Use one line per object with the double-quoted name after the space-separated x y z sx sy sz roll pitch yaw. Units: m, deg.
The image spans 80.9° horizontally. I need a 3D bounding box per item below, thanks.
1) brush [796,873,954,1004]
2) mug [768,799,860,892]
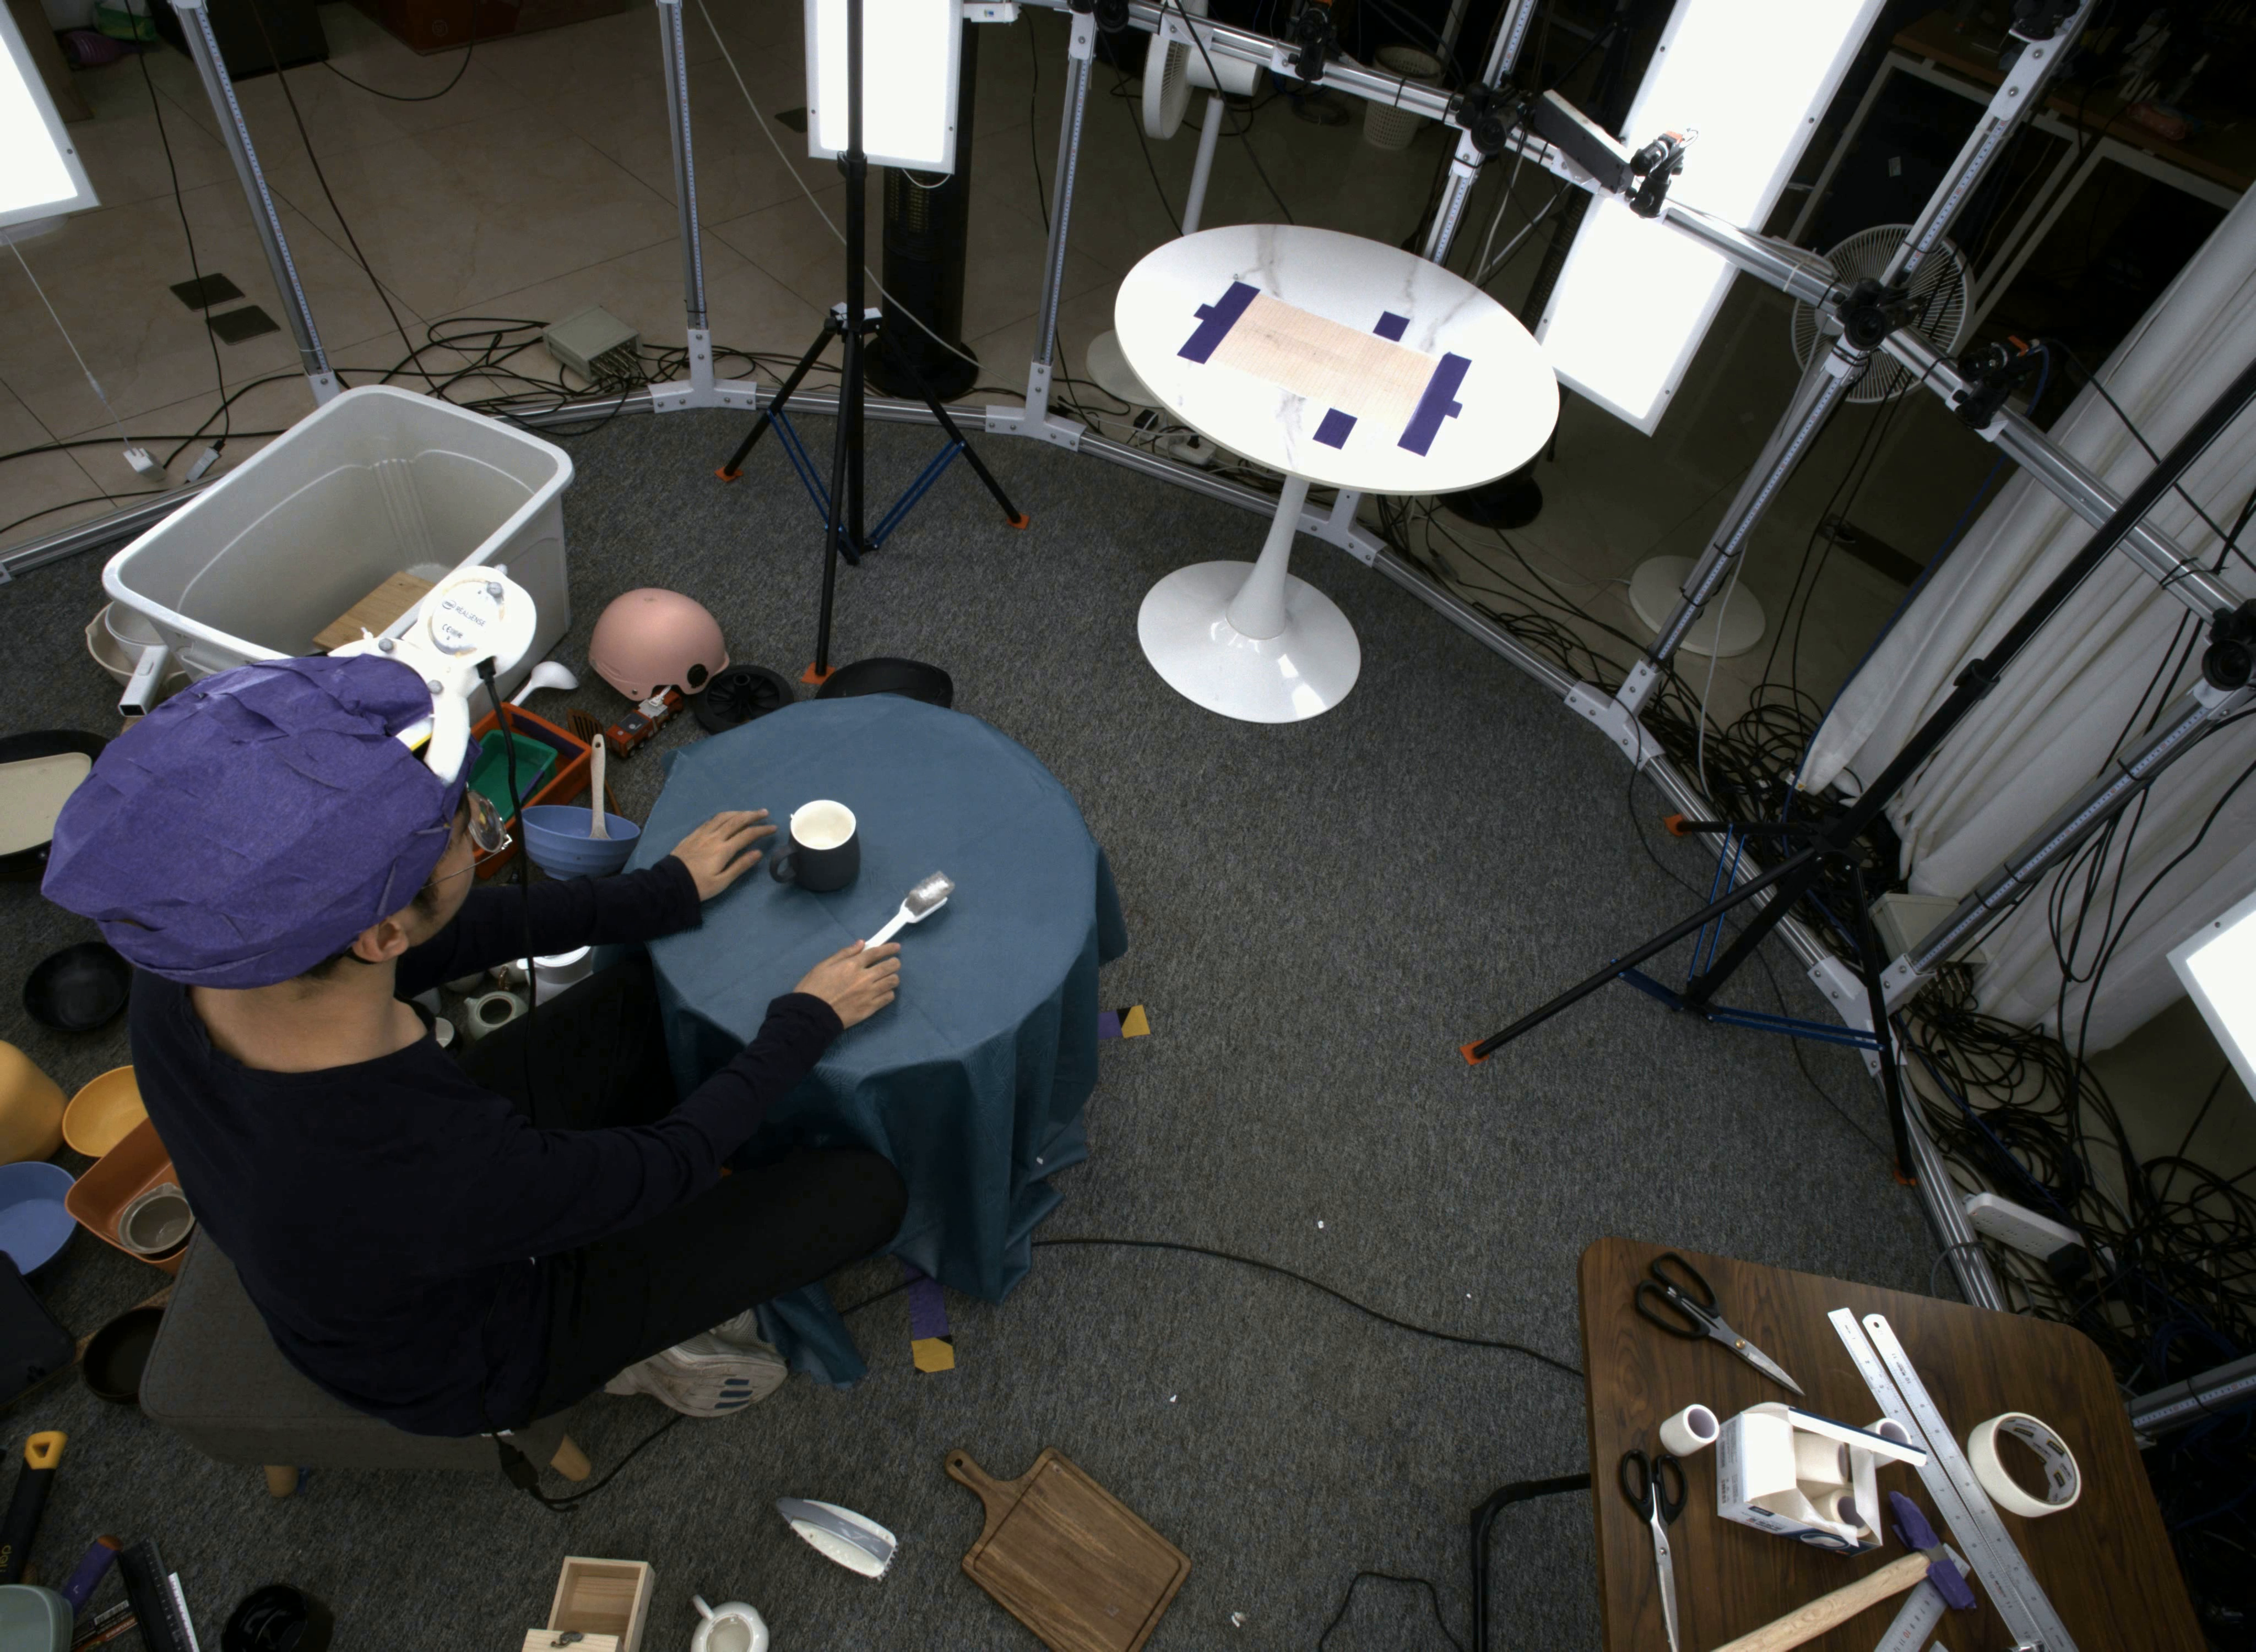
-0.314 0.135 1.621 0.034 0.051 0.244 44 56 11 "brush"
-0.401 0.029 1.649 0.124 0.092 0.091 -27 61 -30 "mug"
